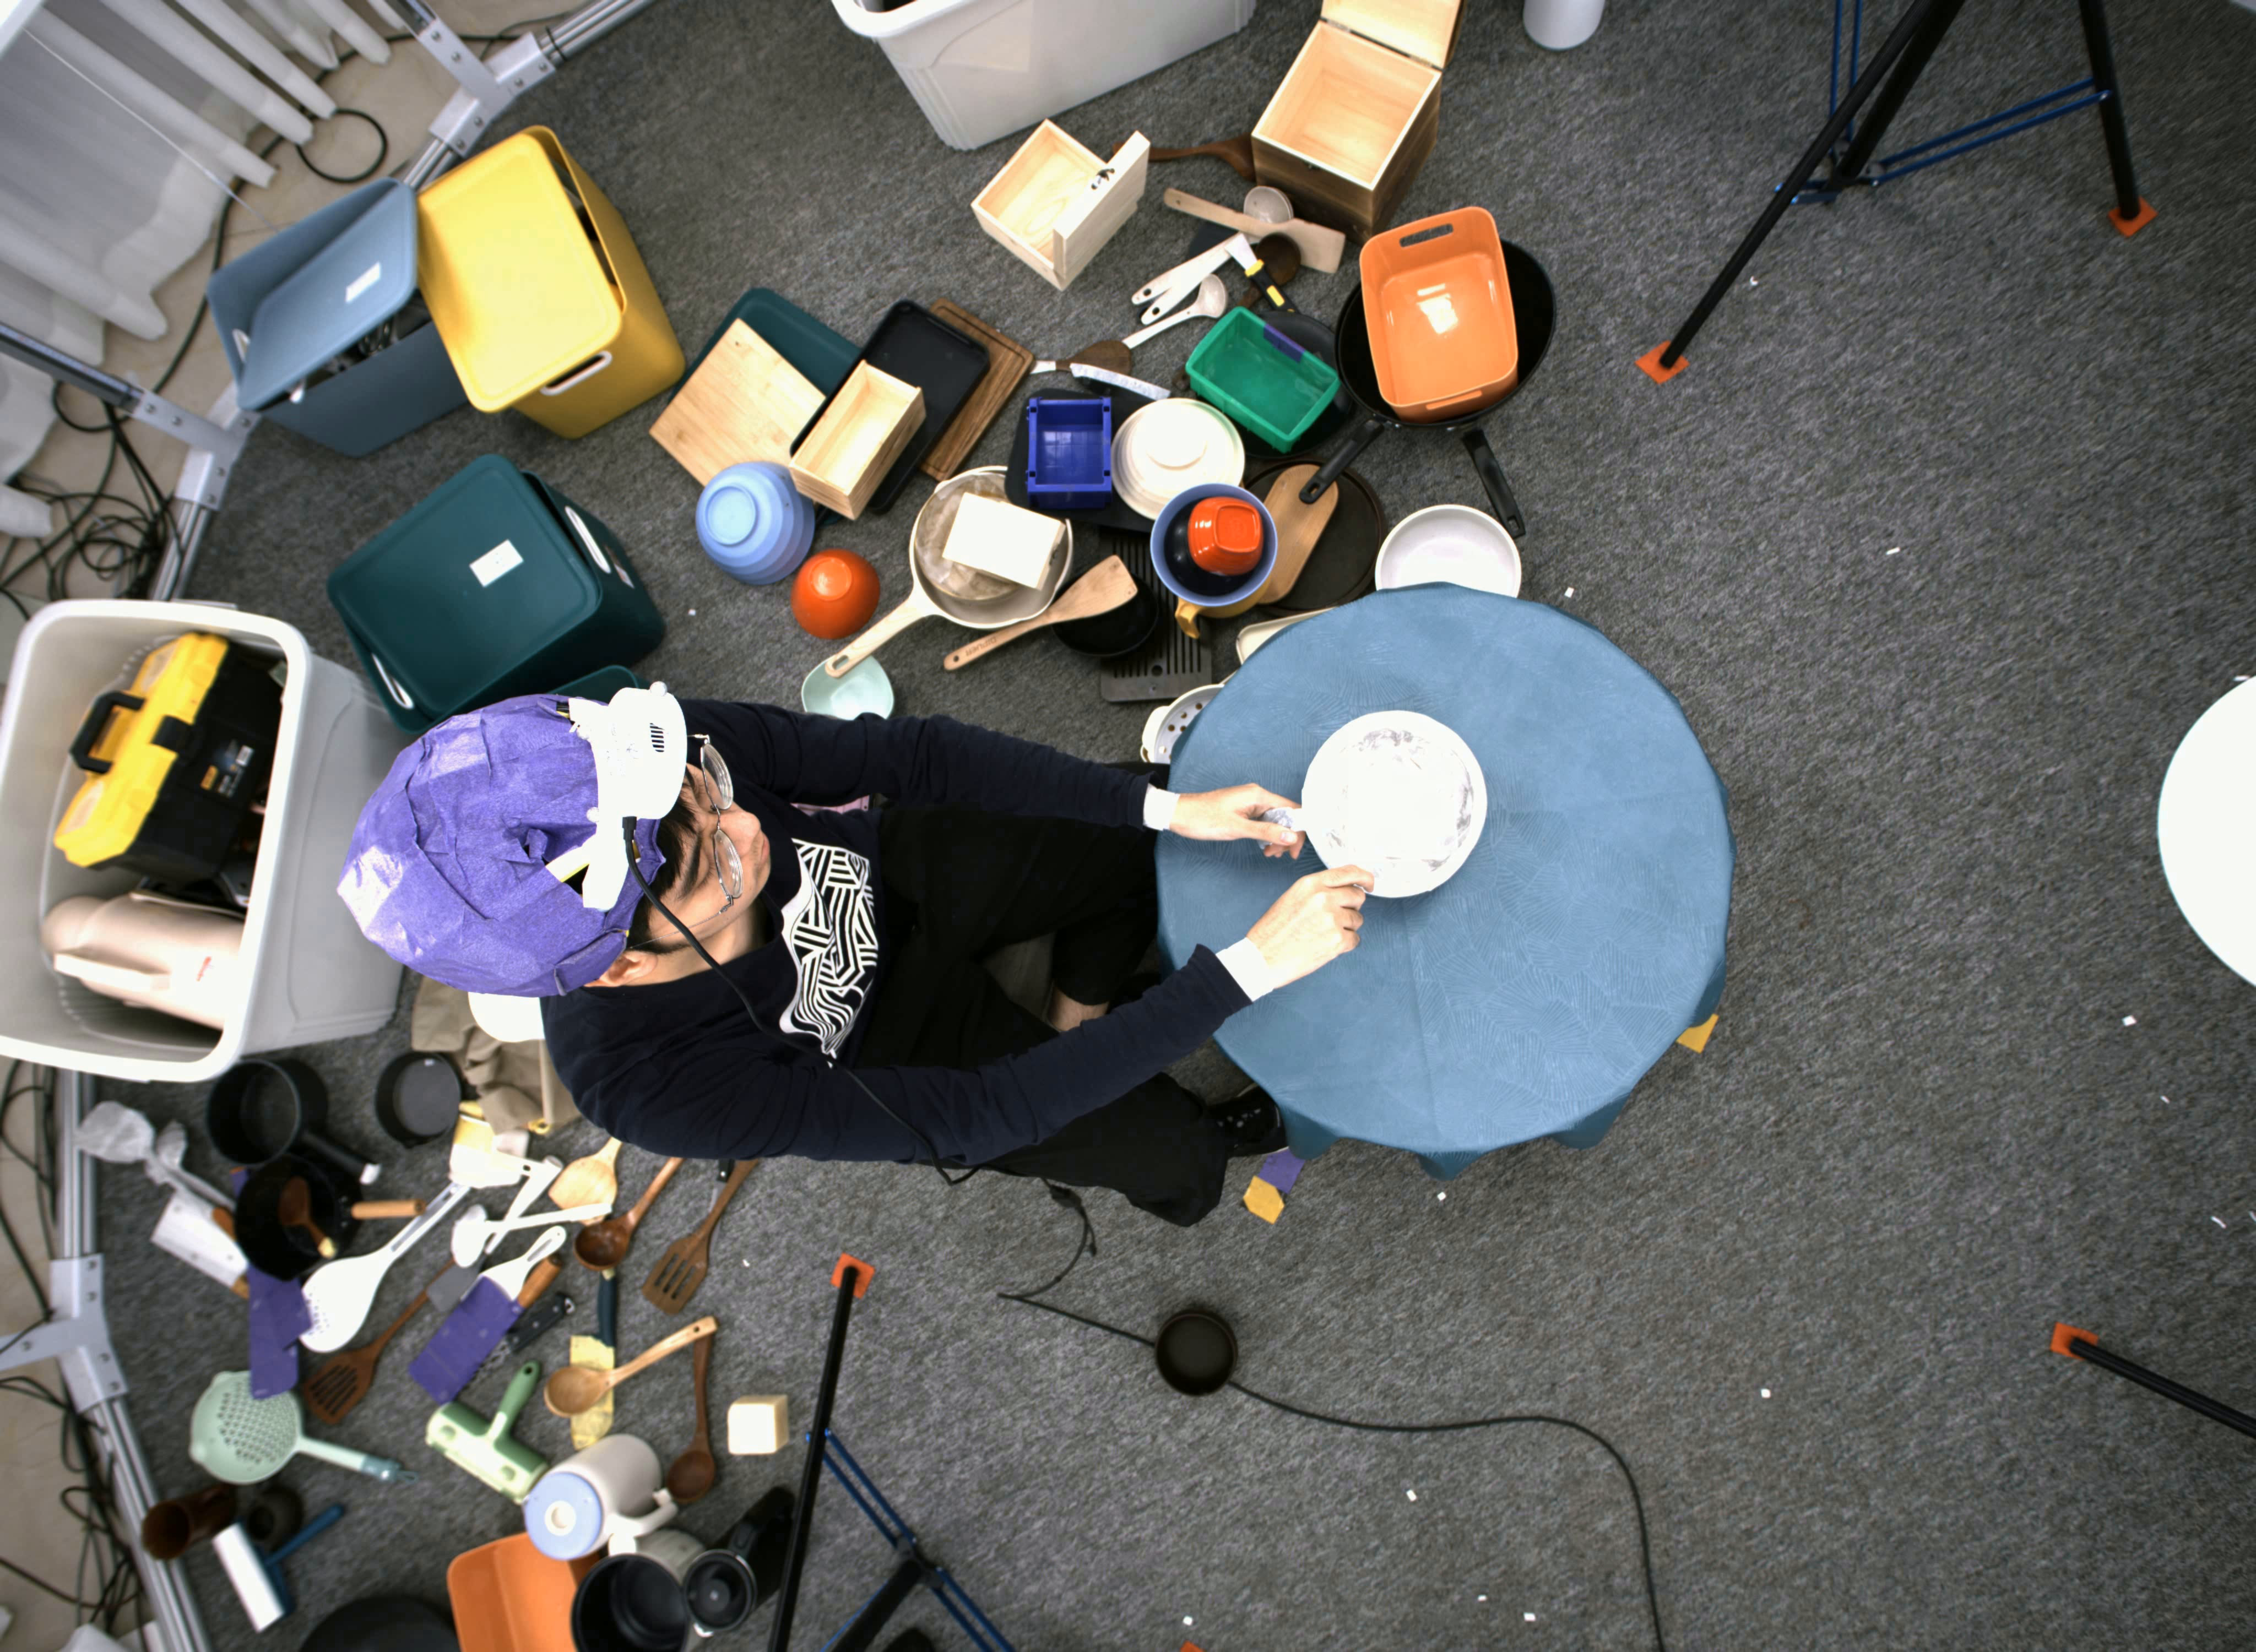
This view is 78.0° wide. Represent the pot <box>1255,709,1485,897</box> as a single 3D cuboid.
[{"bbox_3d":[0.242,-0.015,1.404,0.235,0.137,0.177,-10,82,12],"label":"pot"}]

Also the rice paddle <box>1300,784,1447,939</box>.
[{"bbox_3d":[0.235,0.026,1.294,0.029,0.070,0.202,42,69,12],"label":"rice paddle"}]
